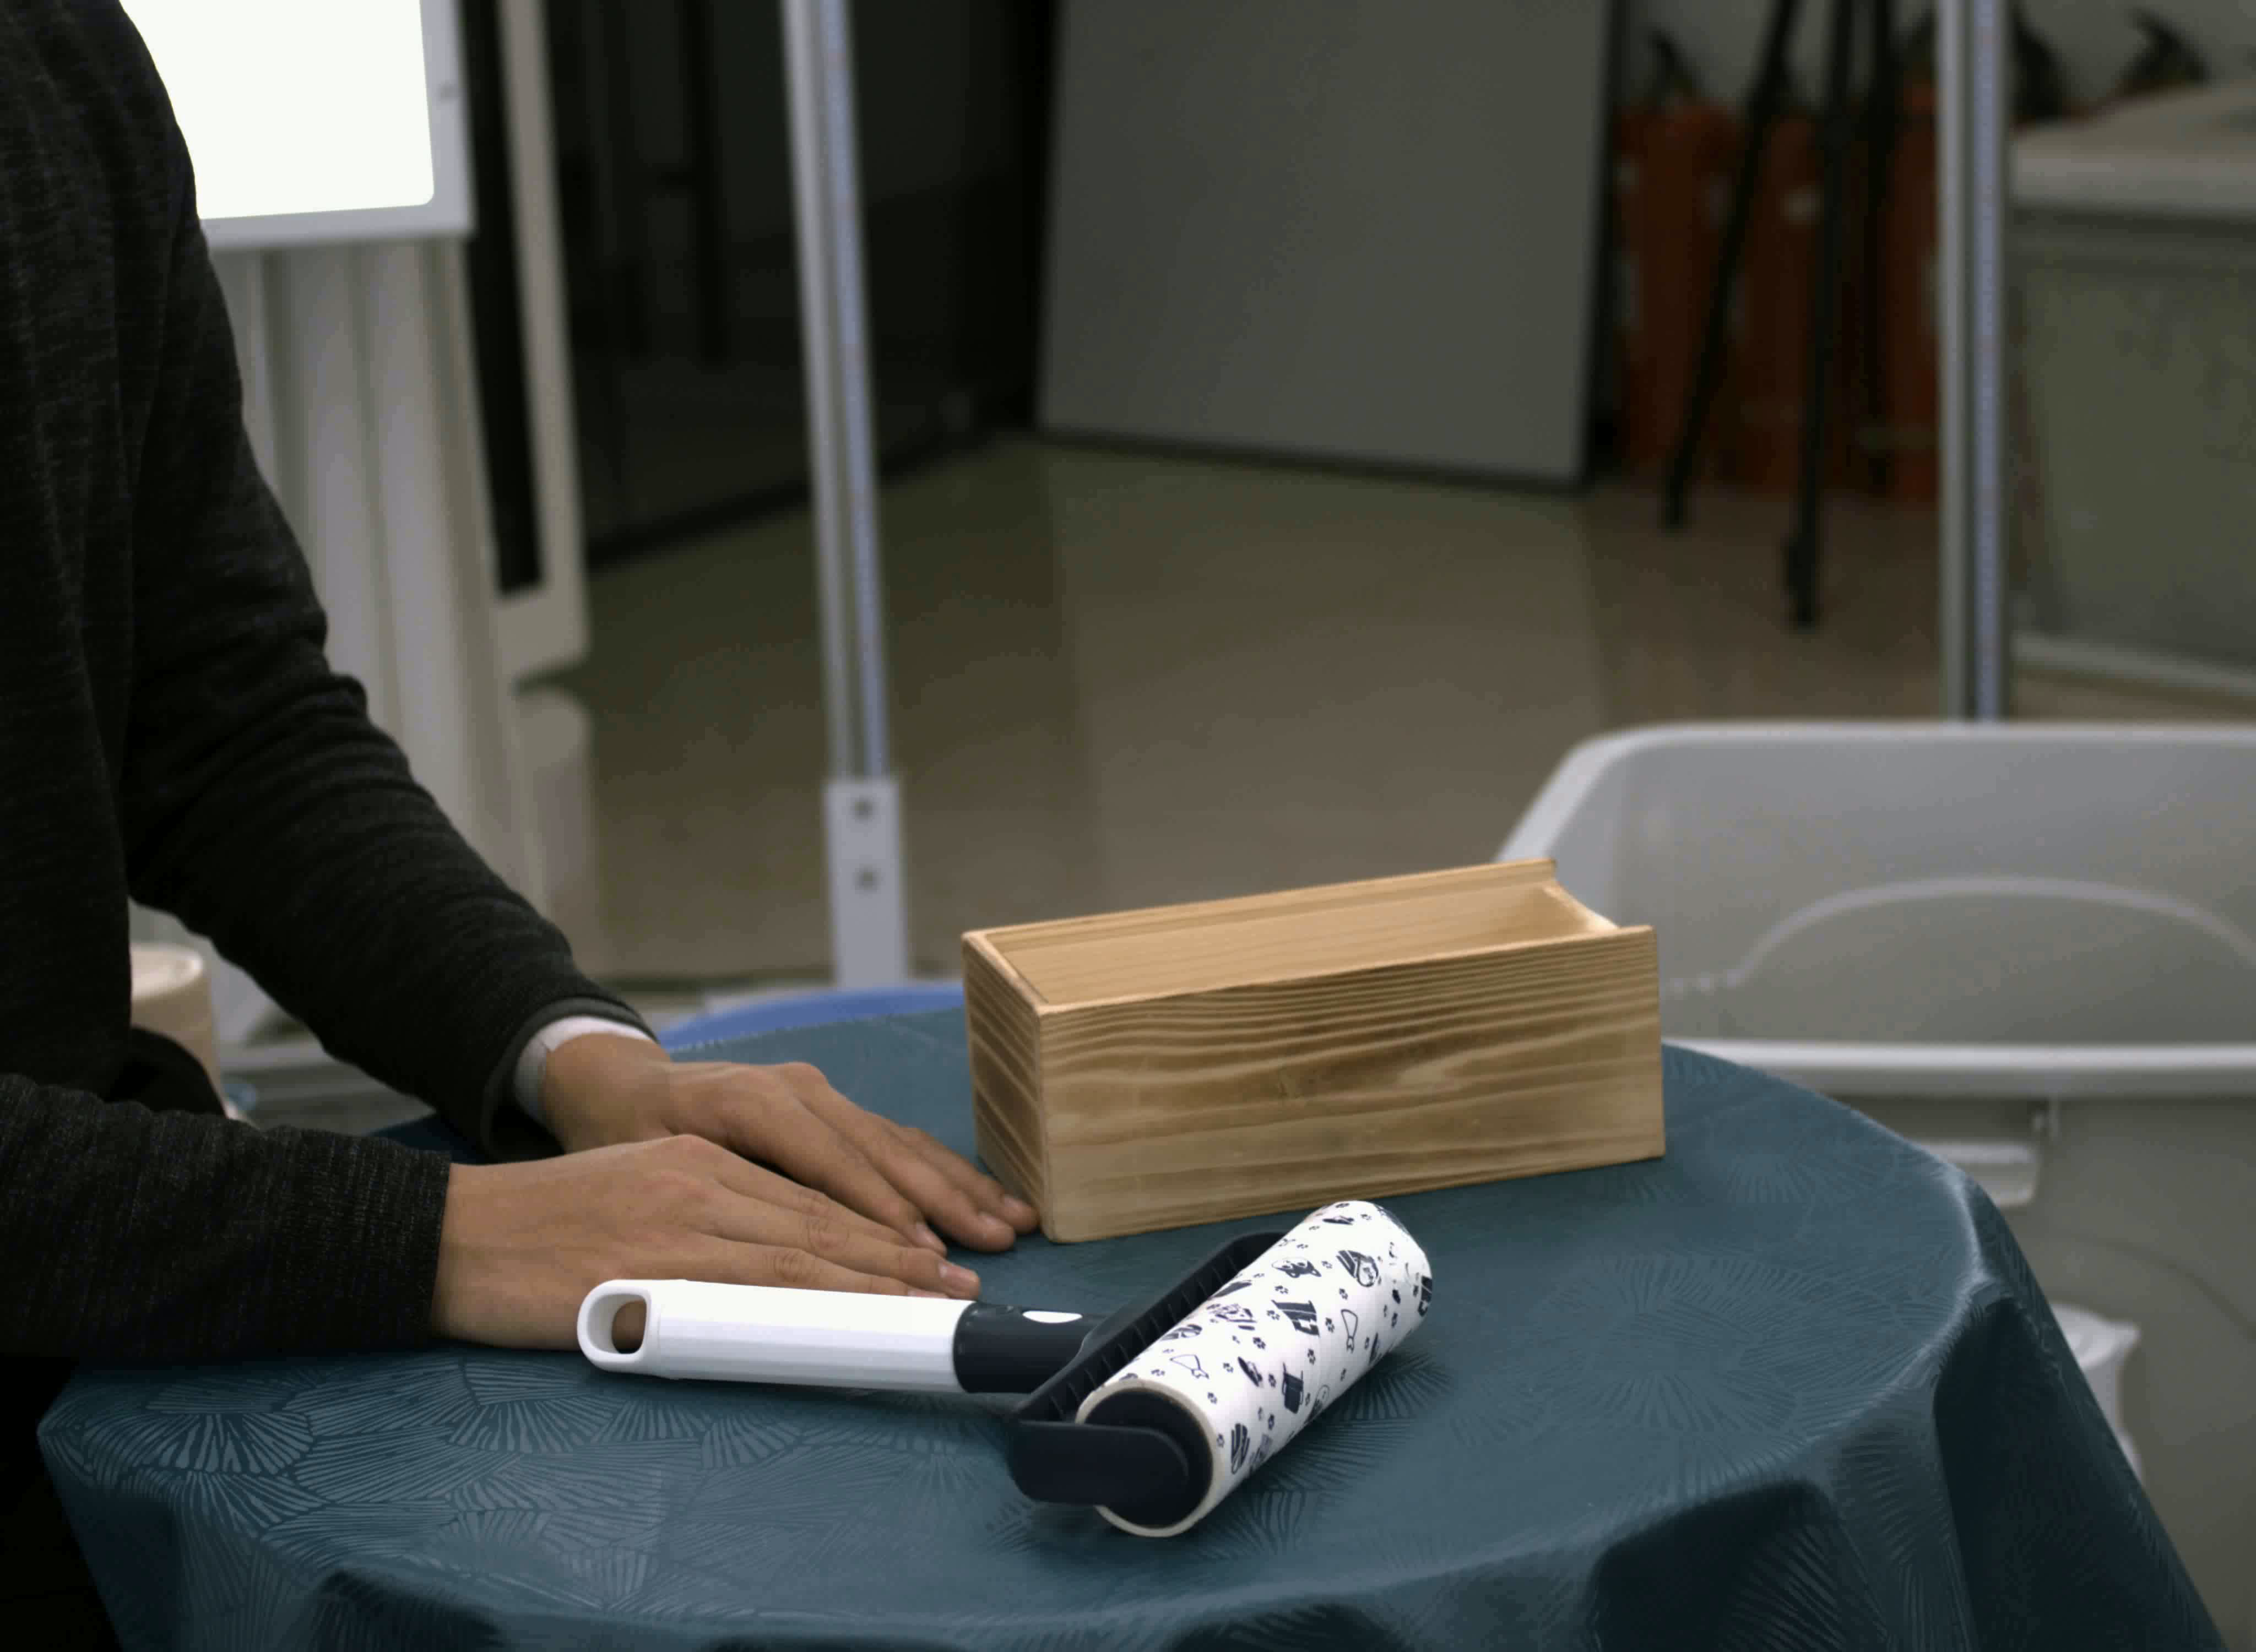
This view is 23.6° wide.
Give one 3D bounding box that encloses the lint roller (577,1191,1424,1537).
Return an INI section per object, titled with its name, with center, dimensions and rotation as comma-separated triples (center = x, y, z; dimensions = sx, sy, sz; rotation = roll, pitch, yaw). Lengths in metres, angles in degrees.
[lint roller]
center = -0.054, 0.150, 1.576
dimensions = 0.247, 0.051, 0.174
rotation = 1, 15, 26

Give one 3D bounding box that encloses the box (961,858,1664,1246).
[box]
center = 0.060, 0.073, 1.781
dimensions = 0.207, 0.081, 0.108
rotation = -8, 14, -13
